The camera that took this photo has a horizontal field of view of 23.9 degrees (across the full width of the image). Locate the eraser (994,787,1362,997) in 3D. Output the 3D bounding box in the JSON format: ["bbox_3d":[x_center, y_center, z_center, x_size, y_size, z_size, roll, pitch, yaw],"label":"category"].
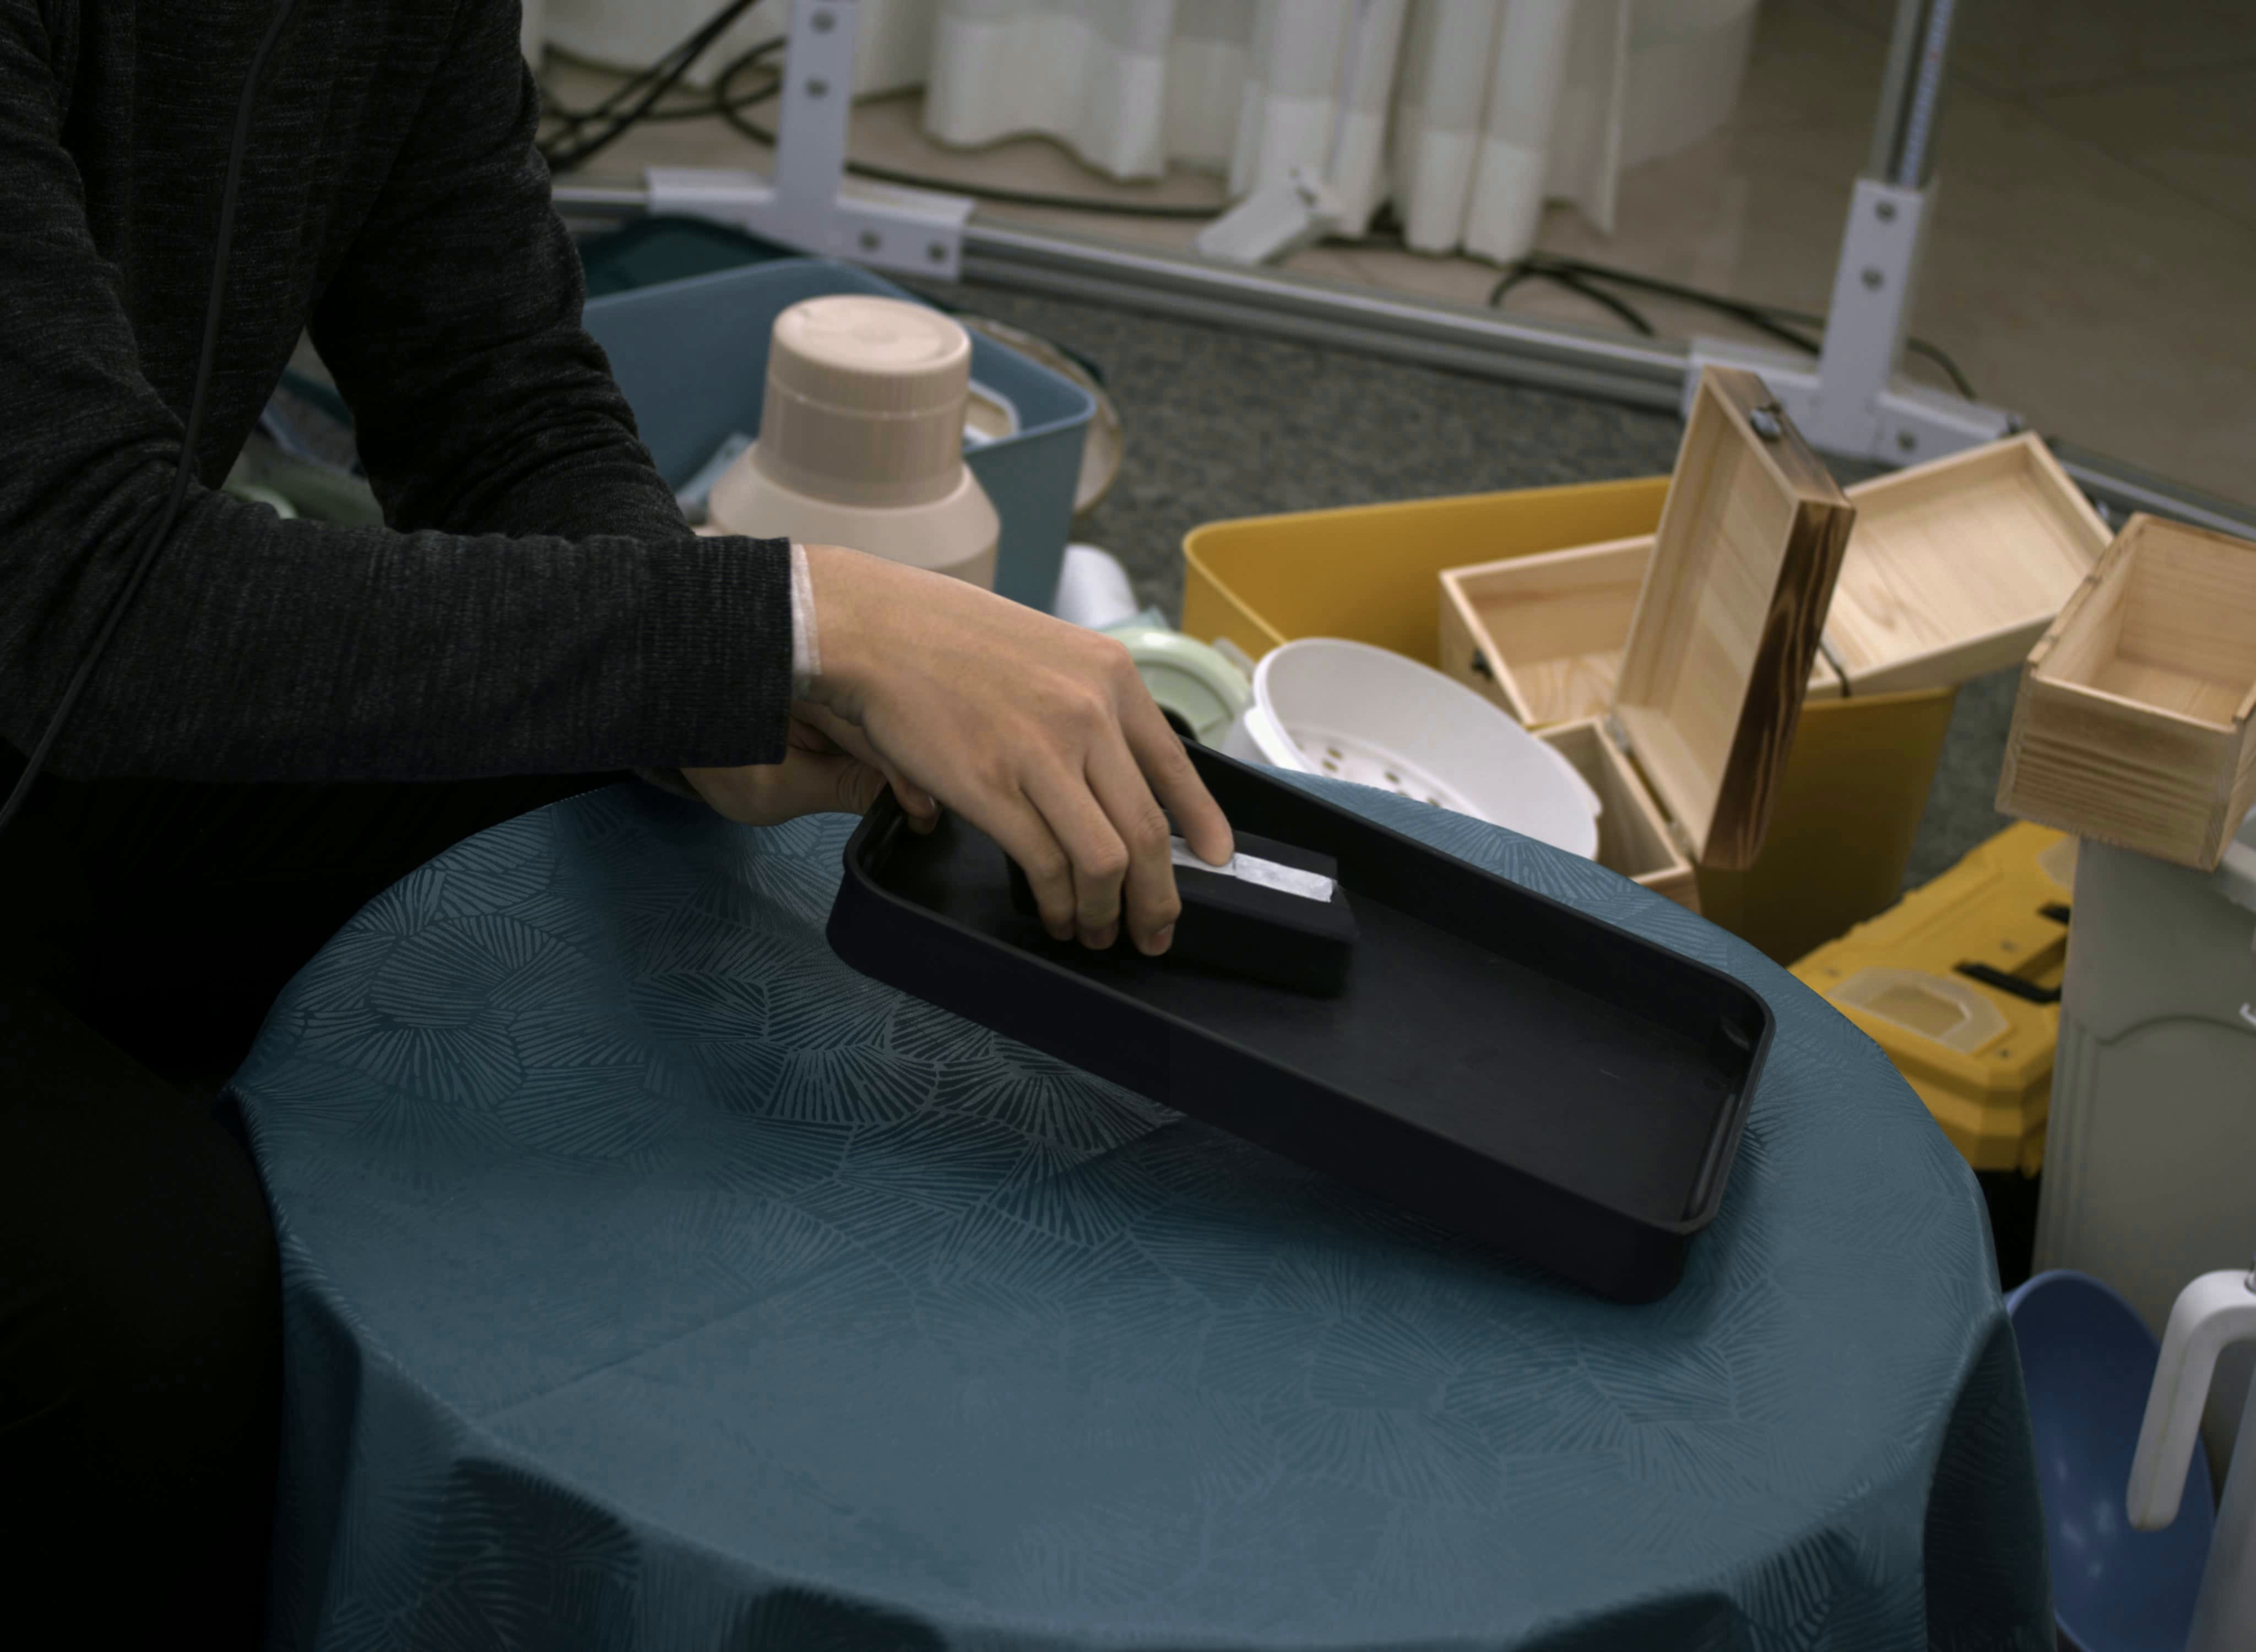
[{"bbox_3d":[0.017,0.023,1.851,0.124,0.030,0.054,14,30,-21],"label":"eraser"}]

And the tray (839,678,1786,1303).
[{"bbox_3d":[0.067,0.054,1.846,0.318,0.037,0.185,22,29,4],"label":"tray"}]
